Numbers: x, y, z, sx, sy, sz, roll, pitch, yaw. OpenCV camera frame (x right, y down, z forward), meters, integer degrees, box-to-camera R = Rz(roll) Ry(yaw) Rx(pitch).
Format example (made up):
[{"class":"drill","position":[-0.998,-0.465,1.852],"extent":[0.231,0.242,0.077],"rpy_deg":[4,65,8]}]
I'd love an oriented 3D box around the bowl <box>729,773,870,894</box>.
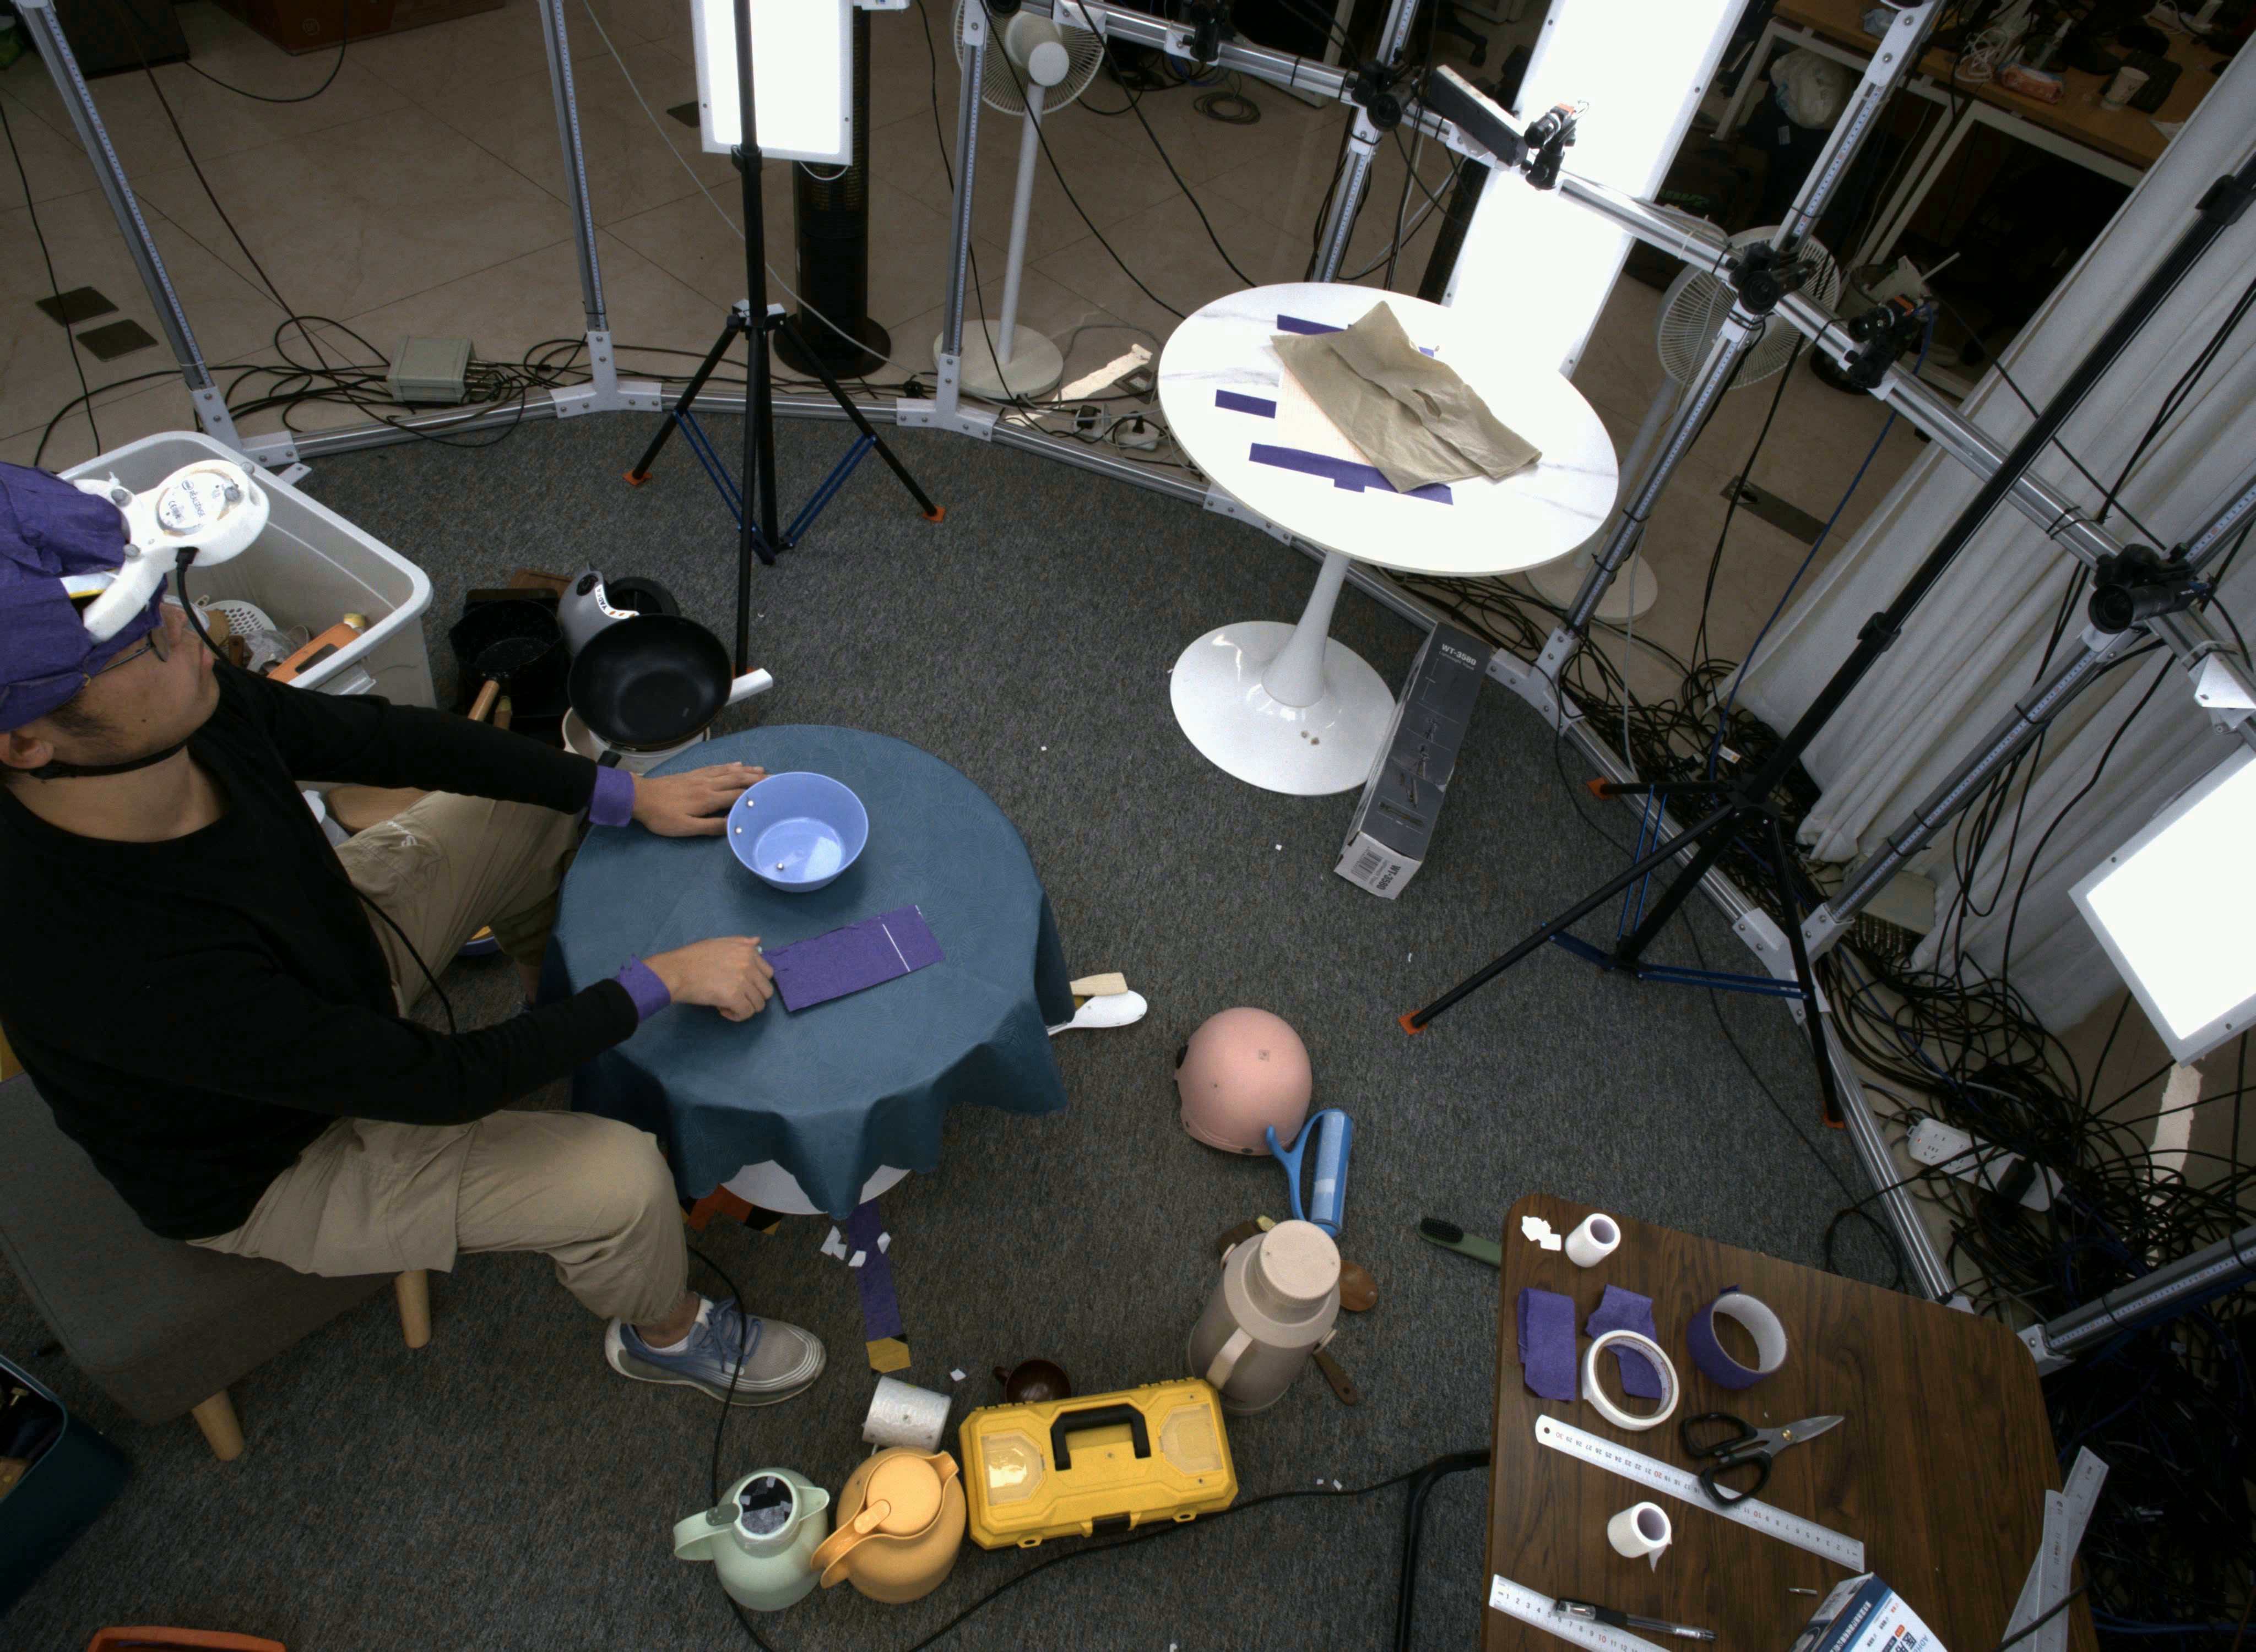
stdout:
[{"class":"bowl","position":[-0.419,0.019,1.663],"extent":[0.175,0.072,0.173],"rpy_deg":[7,52,-7]}]

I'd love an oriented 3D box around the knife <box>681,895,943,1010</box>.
[{"class":"knife","position":[-0.381,0.169,1.589],"extent":[0.317,0.033,0.101],"rpy_deg":[-20,60,-27]}]
